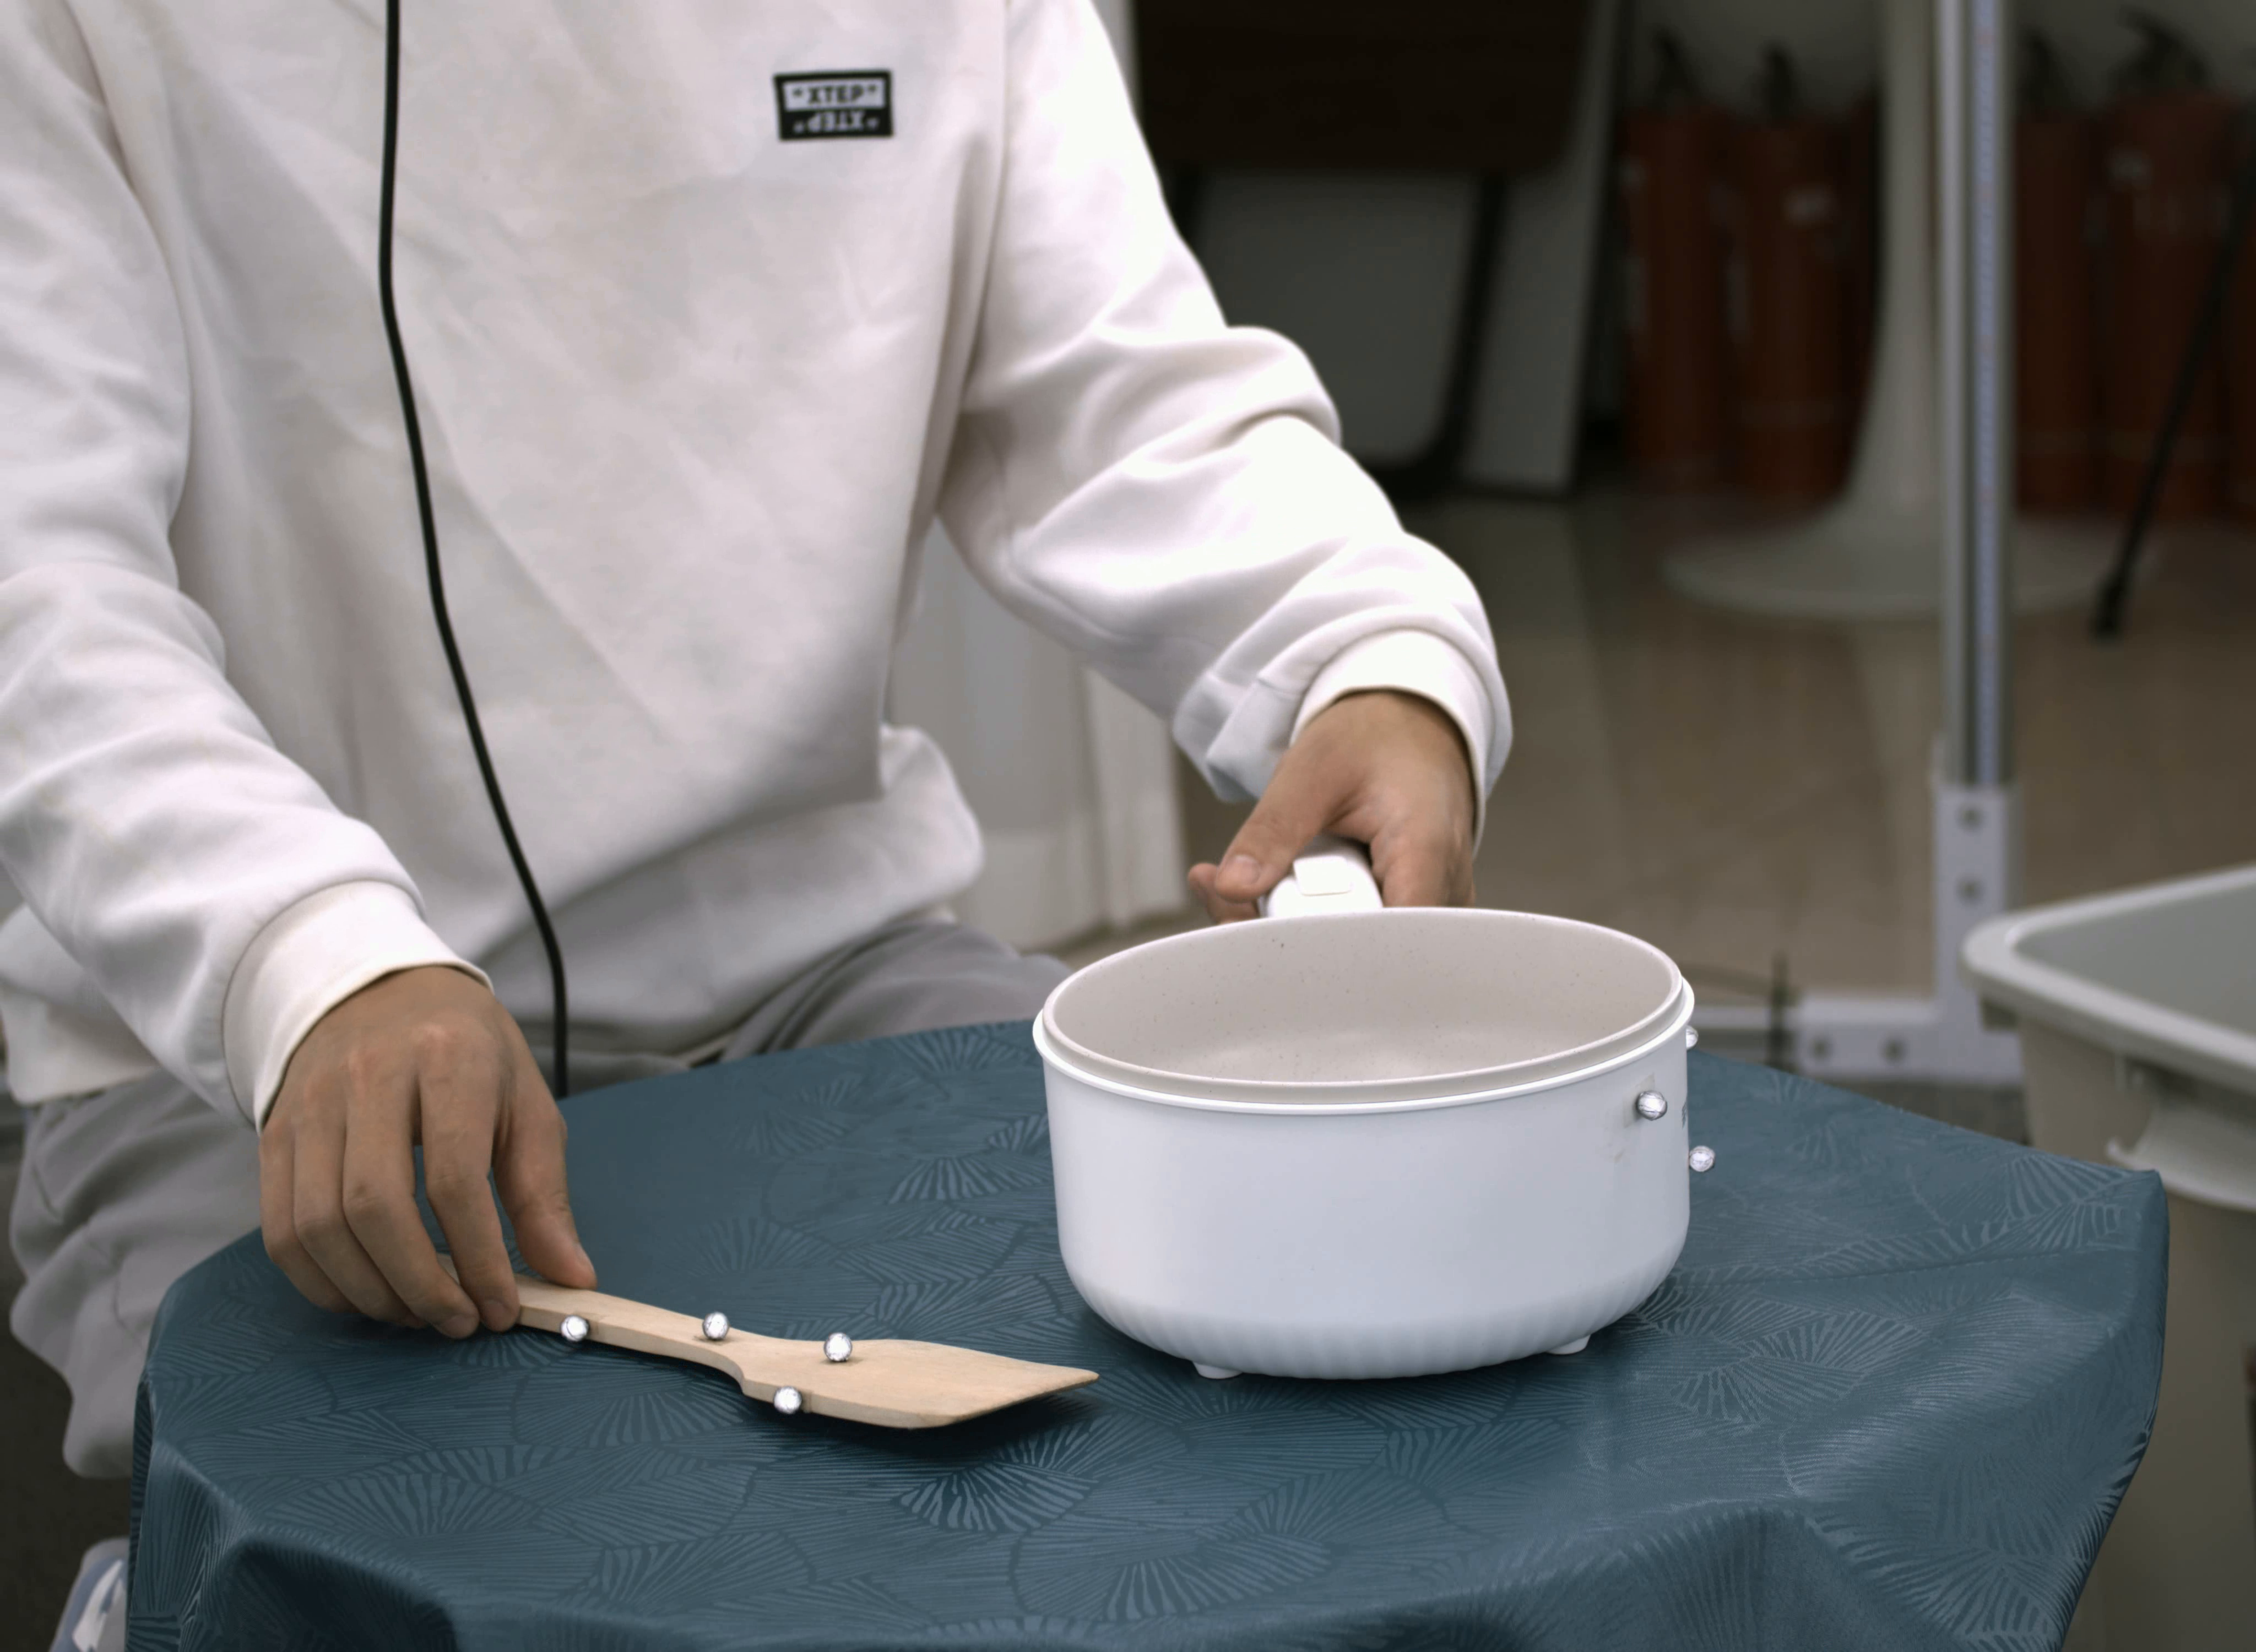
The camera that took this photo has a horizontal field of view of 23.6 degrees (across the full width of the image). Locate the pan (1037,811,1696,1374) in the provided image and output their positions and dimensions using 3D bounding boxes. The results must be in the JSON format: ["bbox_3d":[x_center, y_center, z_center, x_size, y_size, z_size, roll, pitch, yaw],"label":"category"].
[{"bbox_3d":[0.071,0.080,1.709,0.198,0.103,0.355,-4,12,-1],"label":"pan"}]

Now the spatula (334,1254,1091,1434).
[{"bbox_3d":[-0.140,0.156,1.648,0.295,0.011,0.071,6,12,41],"label":"spatula"}]
